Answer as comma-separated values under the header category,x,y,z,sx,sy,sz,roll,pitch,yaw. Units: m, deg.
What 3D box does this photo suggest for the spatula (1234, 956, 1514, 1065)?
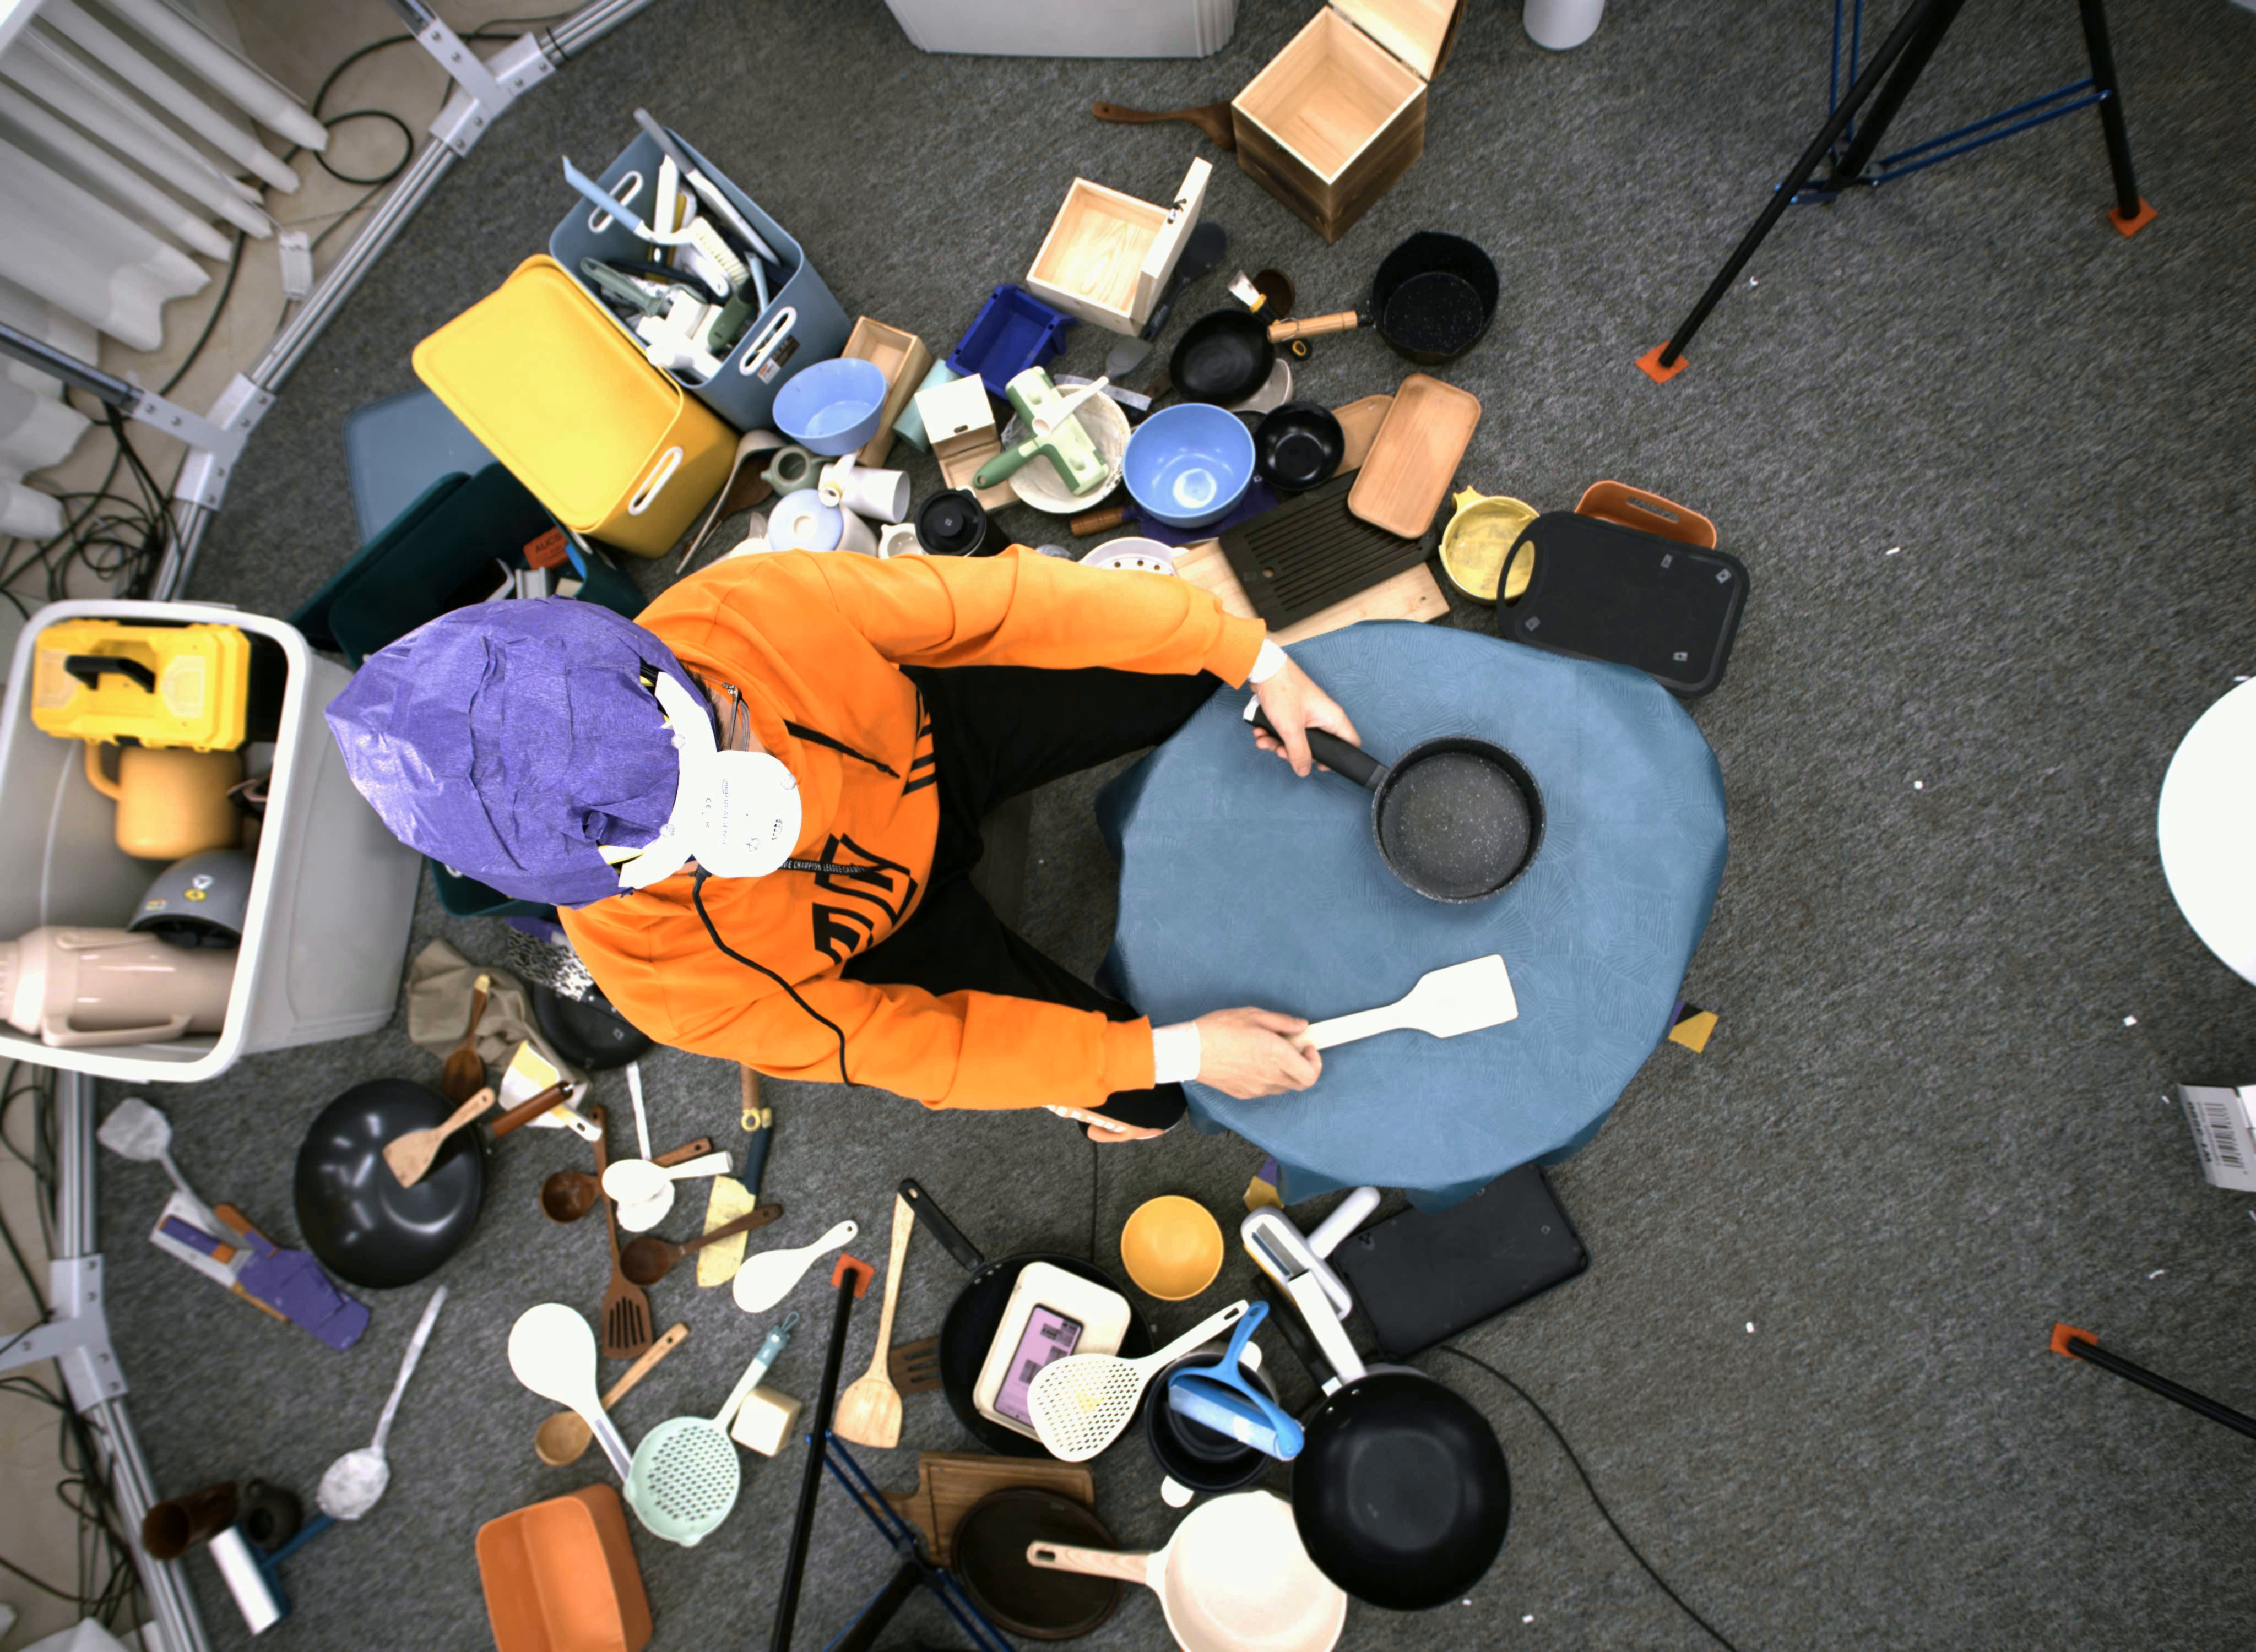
category,x,y,z,sx,sy,sz,roll,pitch,yaw
spatula,0.254,0.202,1.442,0.294,0.010,0.072,-15,86,4

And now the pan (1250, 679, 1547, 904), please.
category,x,y,z,sx,sy,sz,roll,pitch,yaw
pan,0.271,-0.047,1.424,0.328,0.086,0.172,33,92,10
